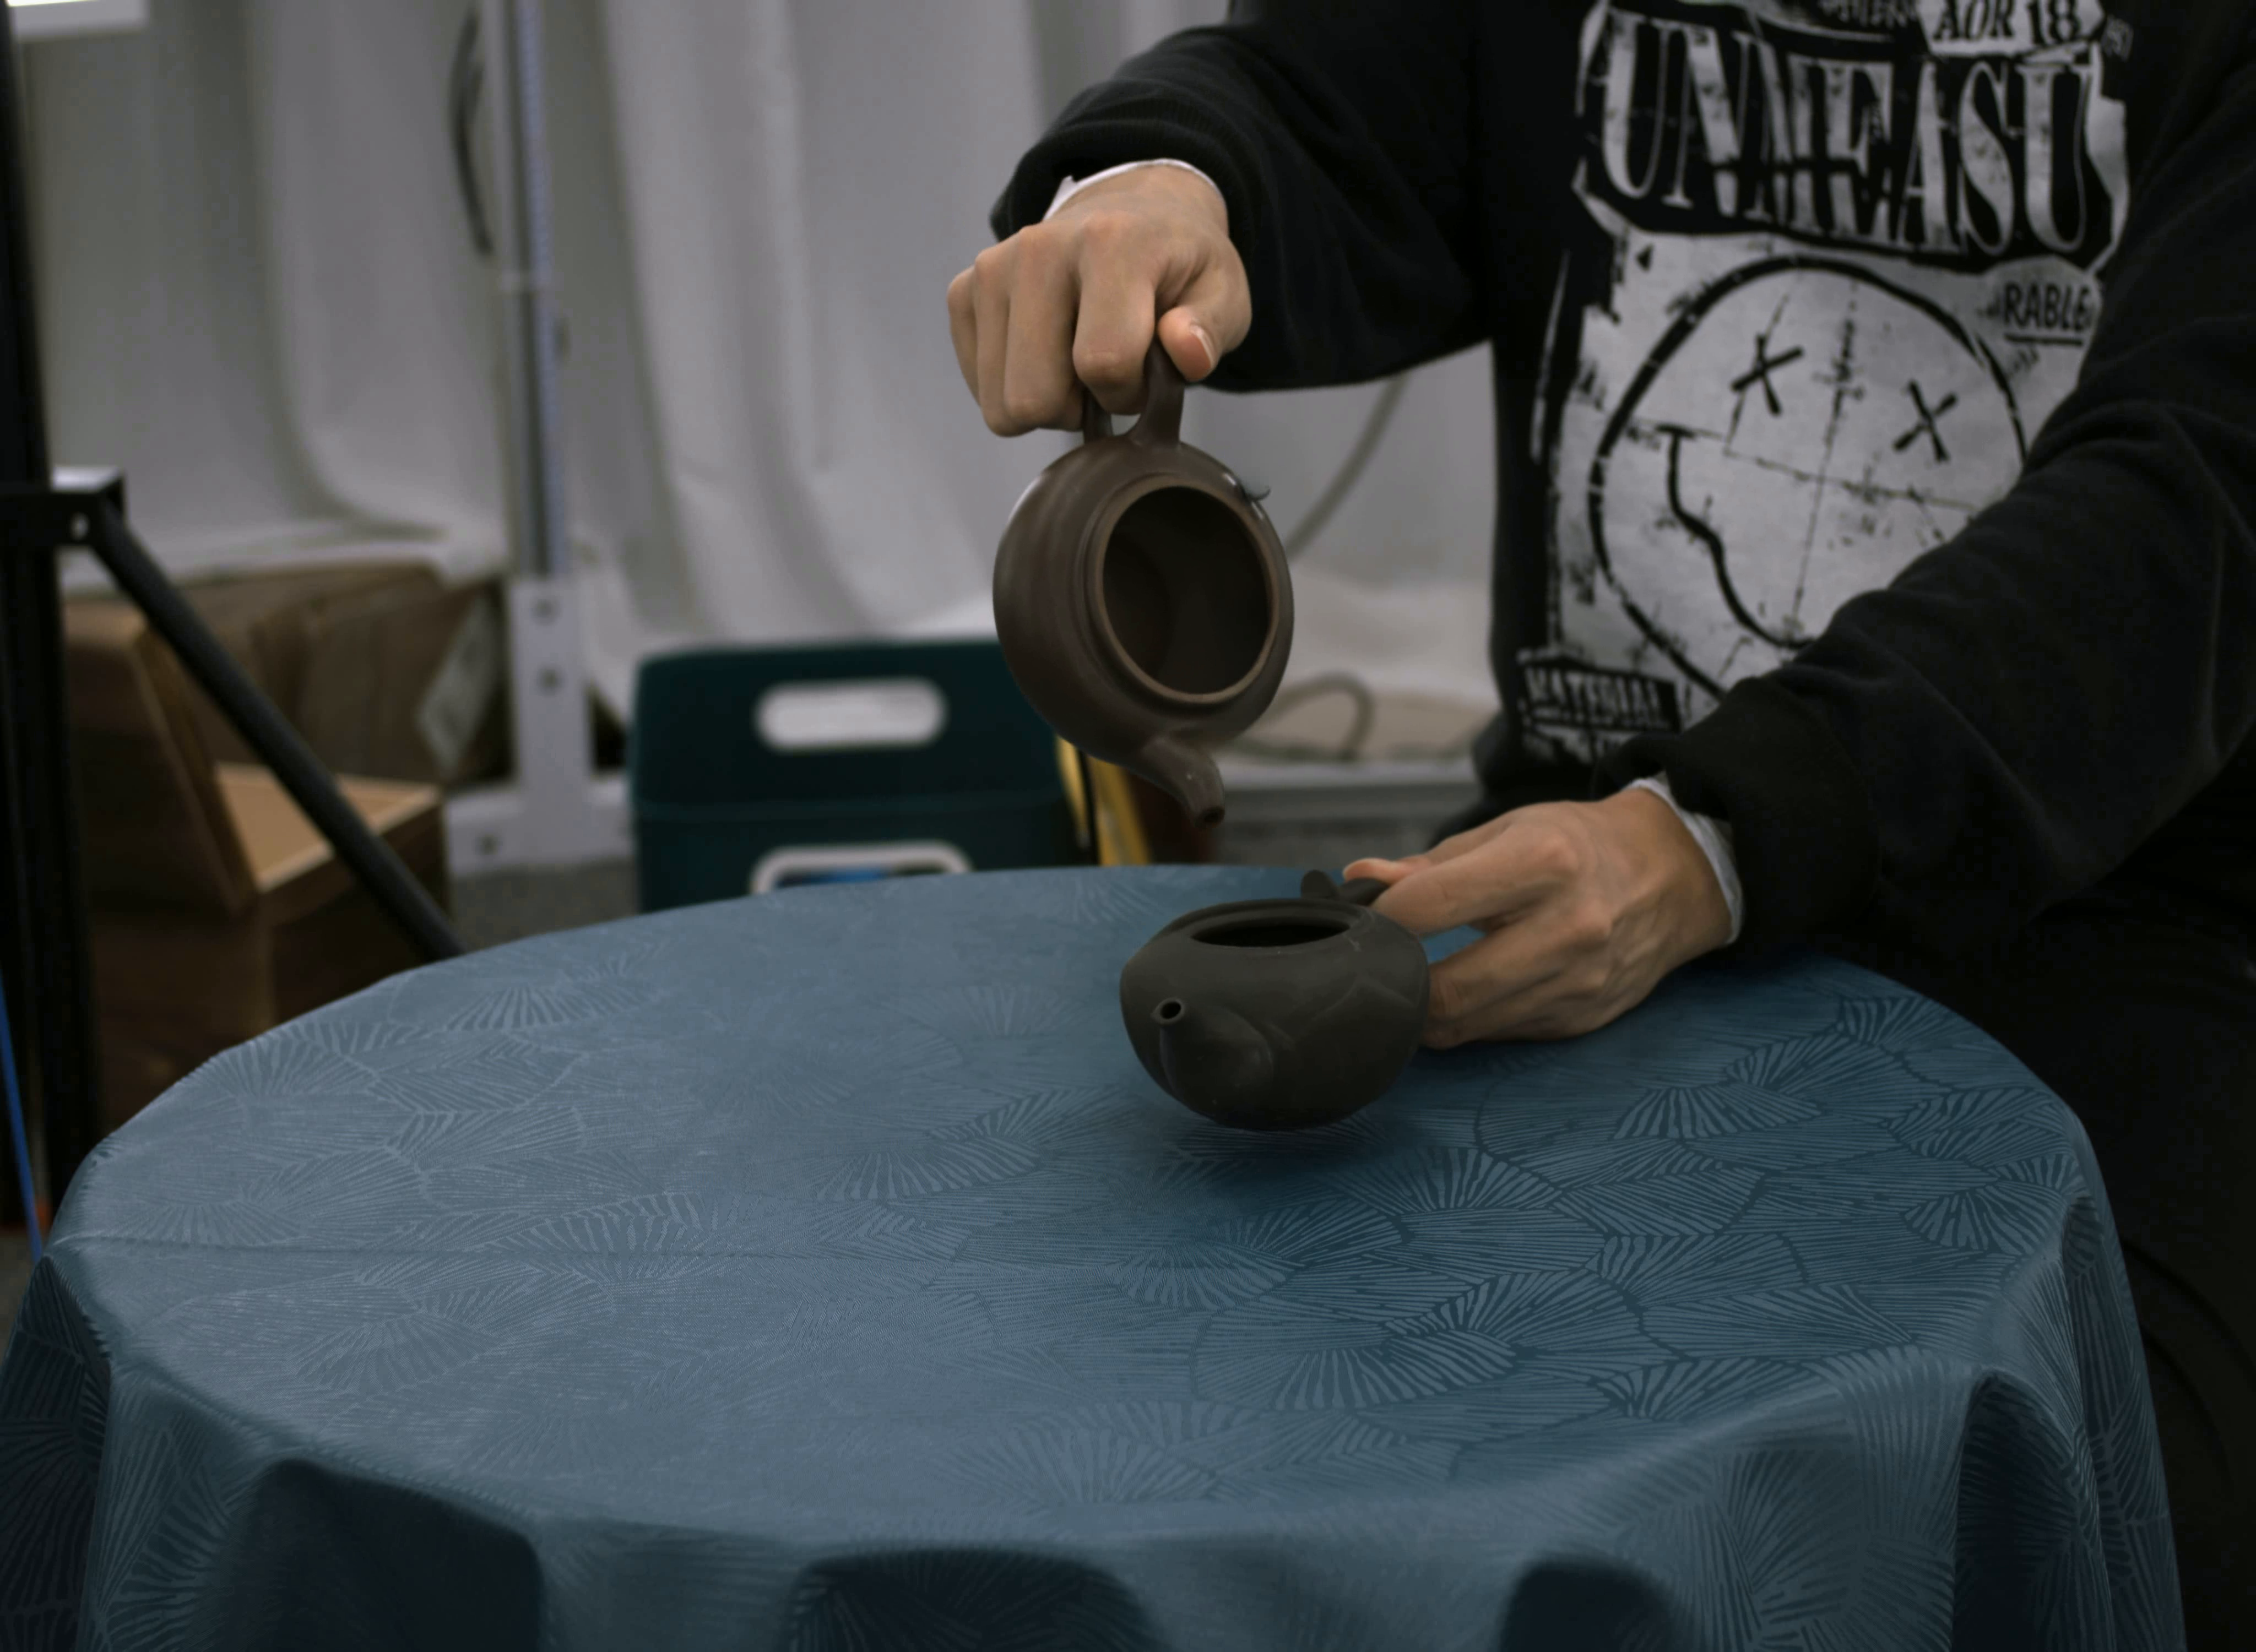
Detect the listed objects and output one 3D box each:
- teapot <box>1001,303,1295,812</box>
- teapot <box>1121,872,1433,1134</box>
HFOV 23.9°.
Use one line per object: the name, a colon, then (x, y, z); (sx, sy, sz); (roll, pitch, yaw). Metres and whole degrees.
teapot: (0.007, -0.081, 1.613); (0.100, 0.154, 0.055); (-13, 8, -36)
teapot: (0.046, 0.054, 1.590); (0.094, 0.064, 0.151); (6, 18, 28)
